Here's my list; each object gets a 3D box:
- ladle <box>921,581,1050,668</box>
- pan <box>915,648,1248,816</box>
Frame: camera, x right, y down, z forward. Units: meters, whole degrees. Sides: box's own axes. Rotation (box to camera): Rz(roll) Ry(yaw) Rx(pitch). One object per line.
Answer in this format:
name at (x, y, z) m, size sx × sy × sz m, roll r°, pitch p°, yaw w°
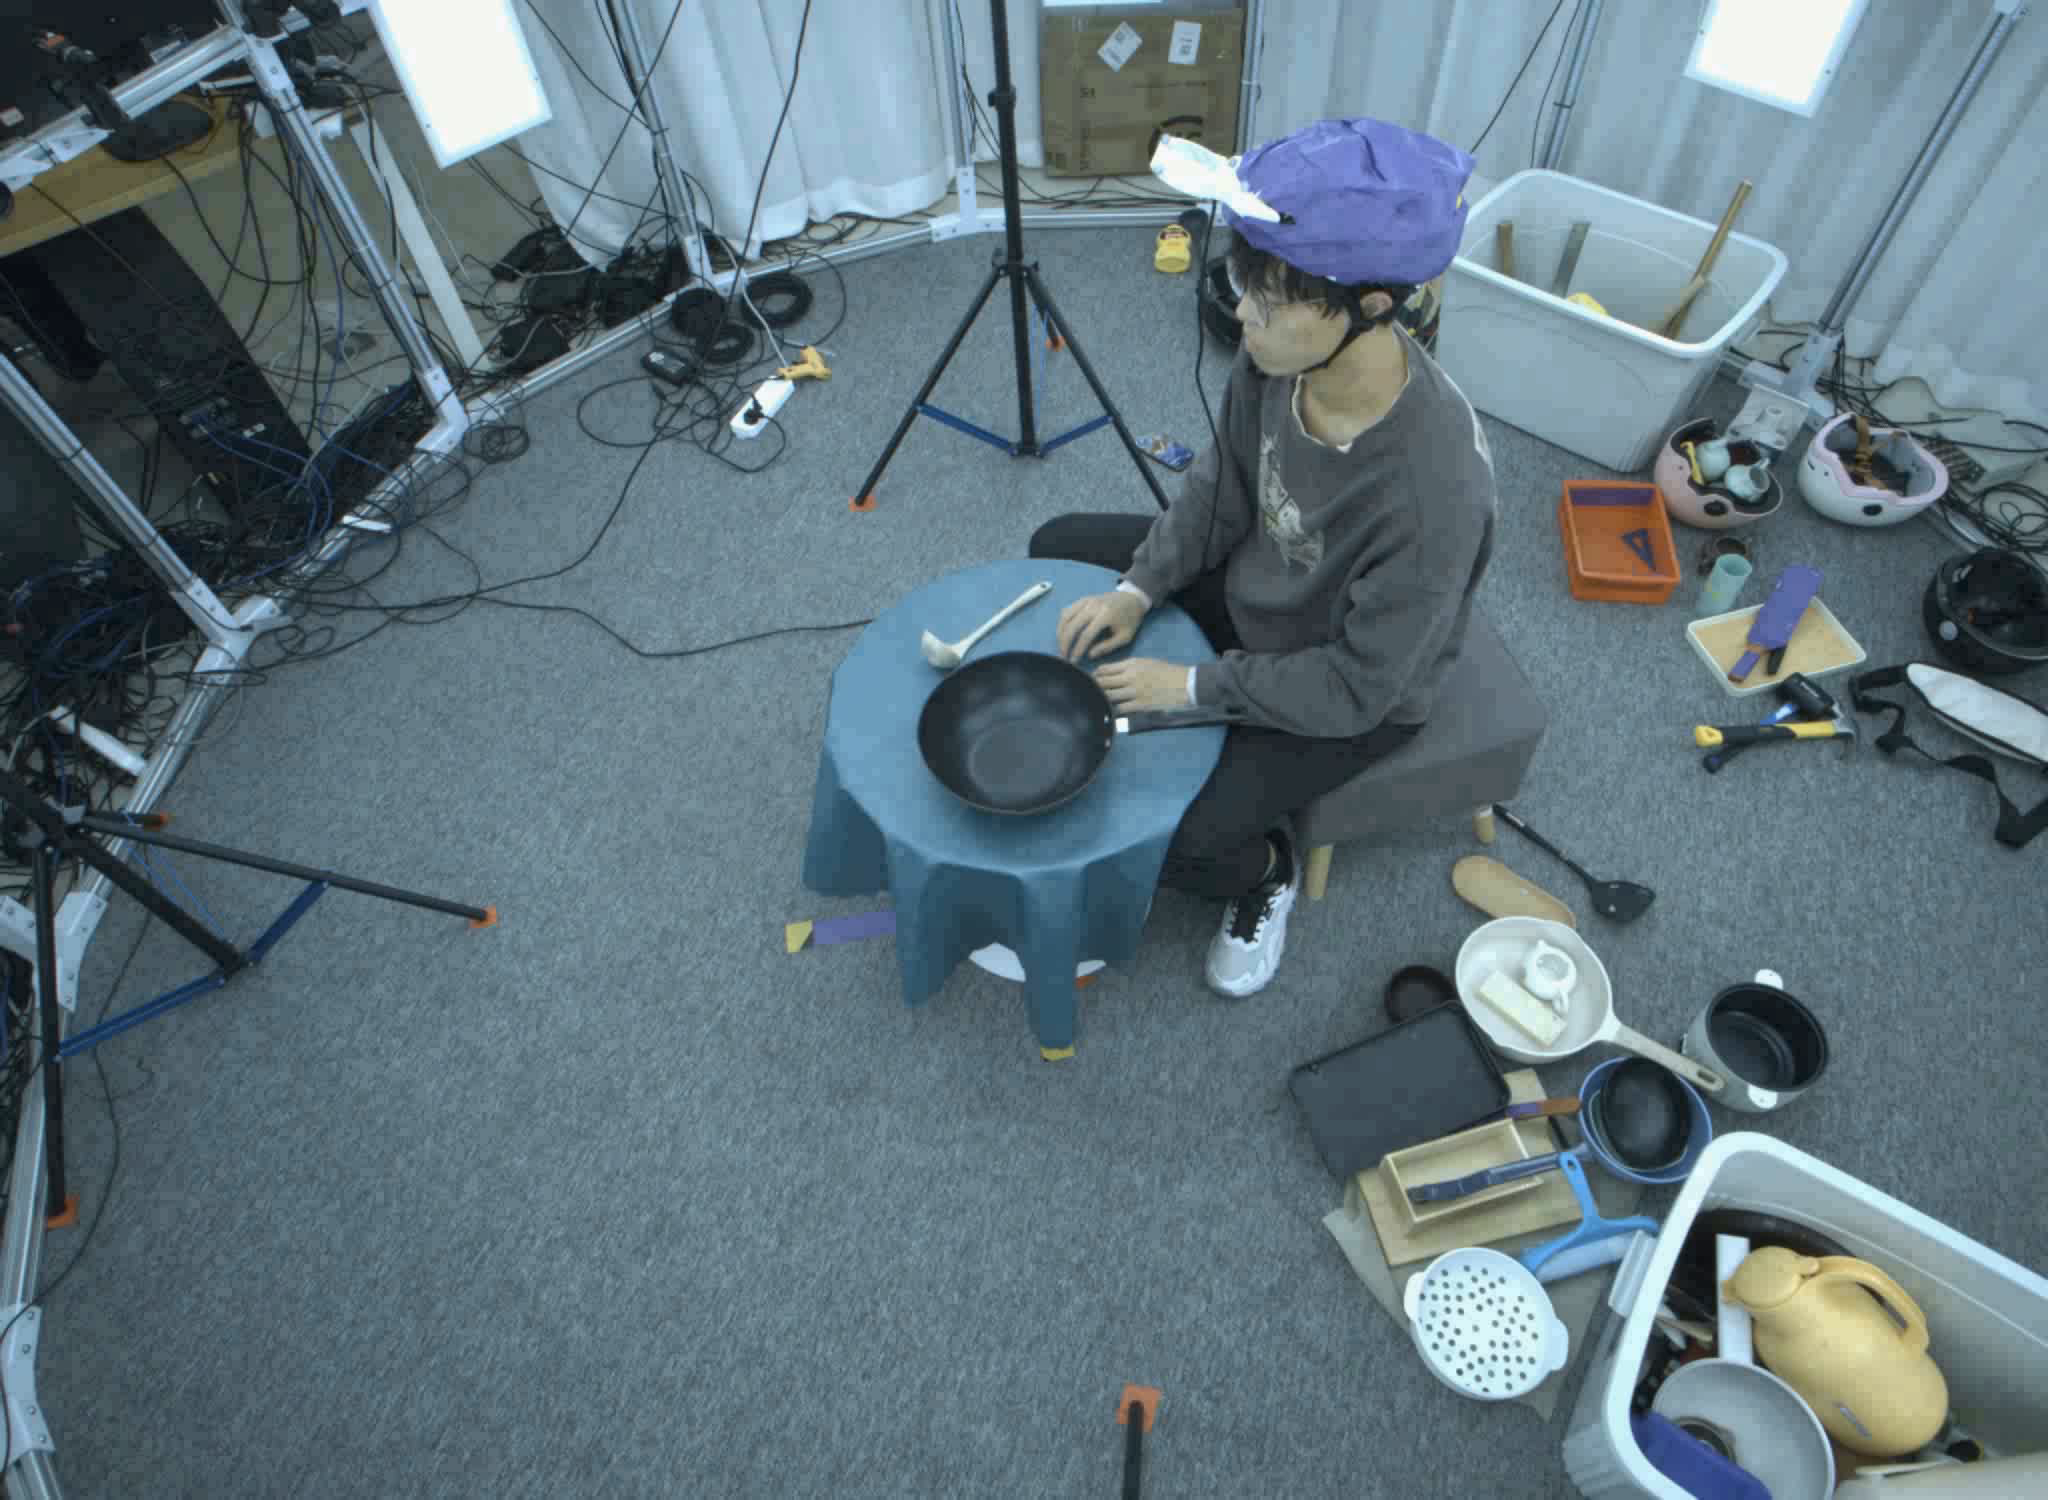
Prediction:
ladle at (-0.054, -0.217, 1.899) m, size 0.070 × 0.074 × 0.256 m, roll 34°, pitch 62°, yaw 30°
pan at (0.081, -0.017, 1.743) m, size 0.464 × 0.088 × 0.285 m, roll -3°, pitch 54°, yaw -1°
